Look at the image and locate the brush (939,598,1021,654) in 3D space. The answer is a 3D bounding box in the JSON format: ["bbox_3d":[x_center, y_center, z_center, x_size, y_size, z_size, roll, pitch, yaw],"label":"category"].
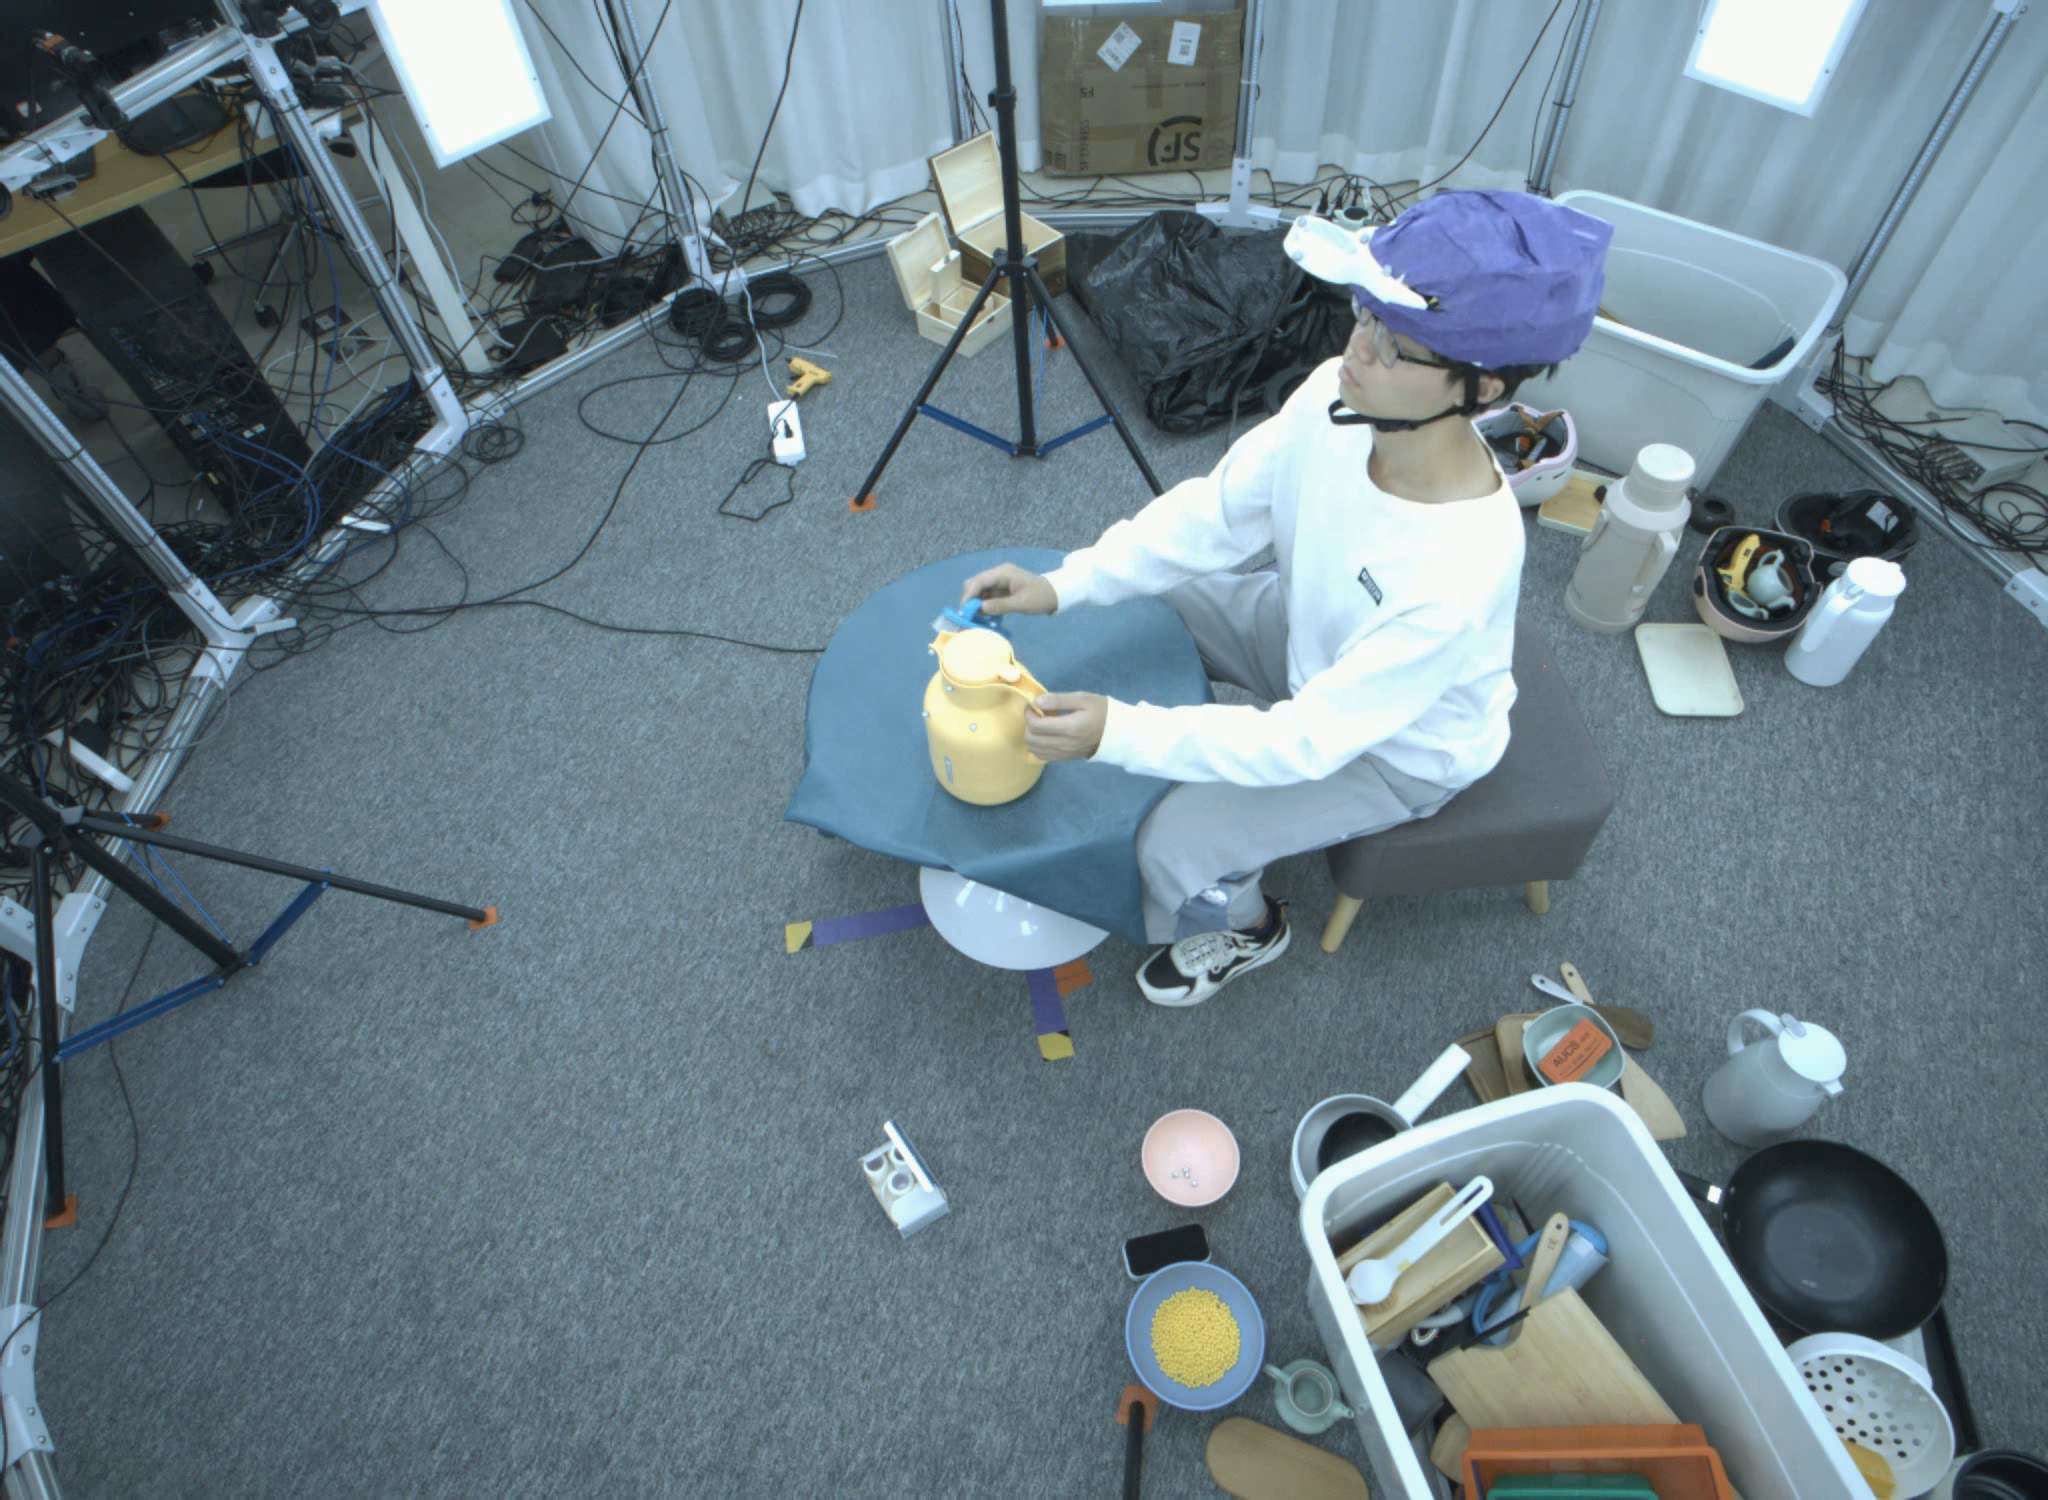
[{"bbox_3d":[-0.058,-0.180,1.729,0.083,0.144,0.064,24,99,27],"label":"brush"}]

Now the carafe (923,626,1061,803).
[{"bbox_3d":[-0.040,-0.043,1.656,0.199,0.263,0.164,29,63,23],"label":"carafe"}]
